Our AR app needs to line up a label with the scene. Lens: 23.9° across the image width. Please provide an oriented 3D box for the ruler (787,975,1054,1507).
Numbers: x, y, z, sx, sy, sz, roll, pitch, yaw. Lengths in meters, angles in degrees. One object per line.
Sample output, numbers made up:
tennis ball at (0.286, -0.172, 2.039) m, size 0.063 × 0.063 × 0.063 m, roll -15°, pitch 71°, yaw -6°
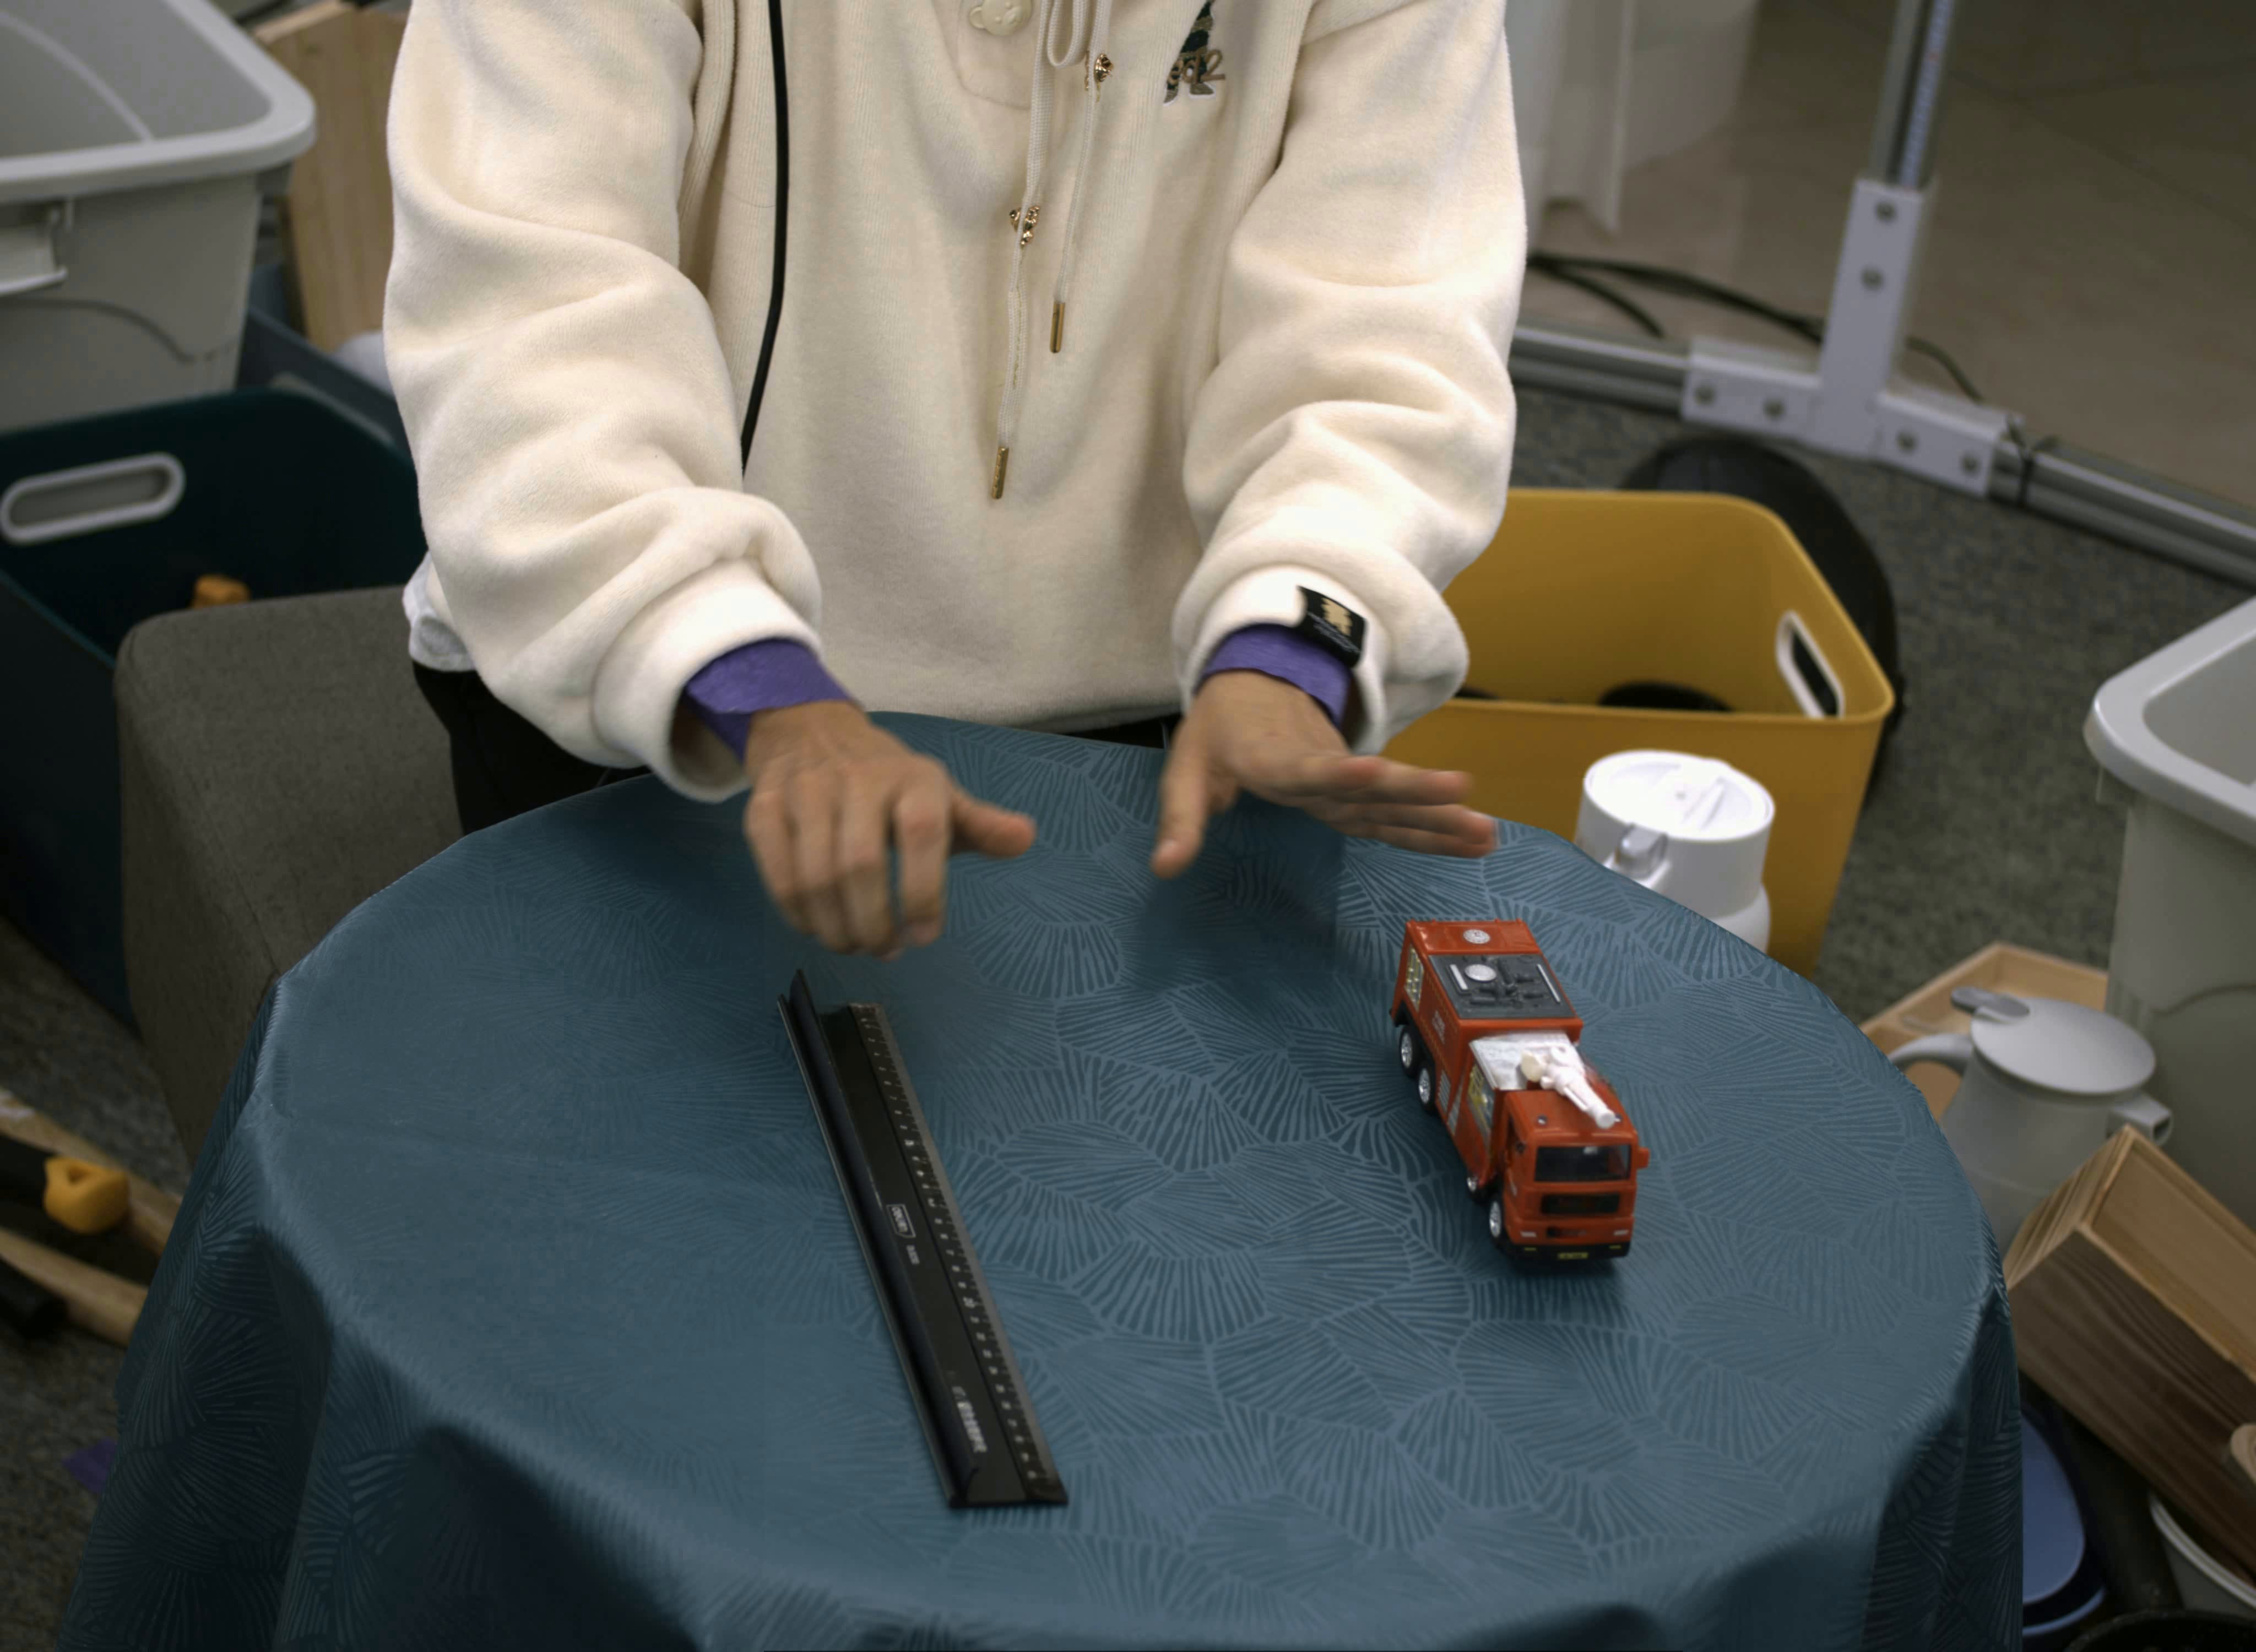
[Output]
ruler at (-0.070, 0.130, 1.756) m, size 0.039 × 0.017 × 0.315 m, roll 3°, pitch 26°, yaw -15°

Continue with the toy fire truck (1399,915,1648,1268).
toy fire truck at (0.135, 0.090, 1.834) m, size 0.053 × 0.070 × 0.169 m, roll 0°, pitch 26°, yaw -13°
